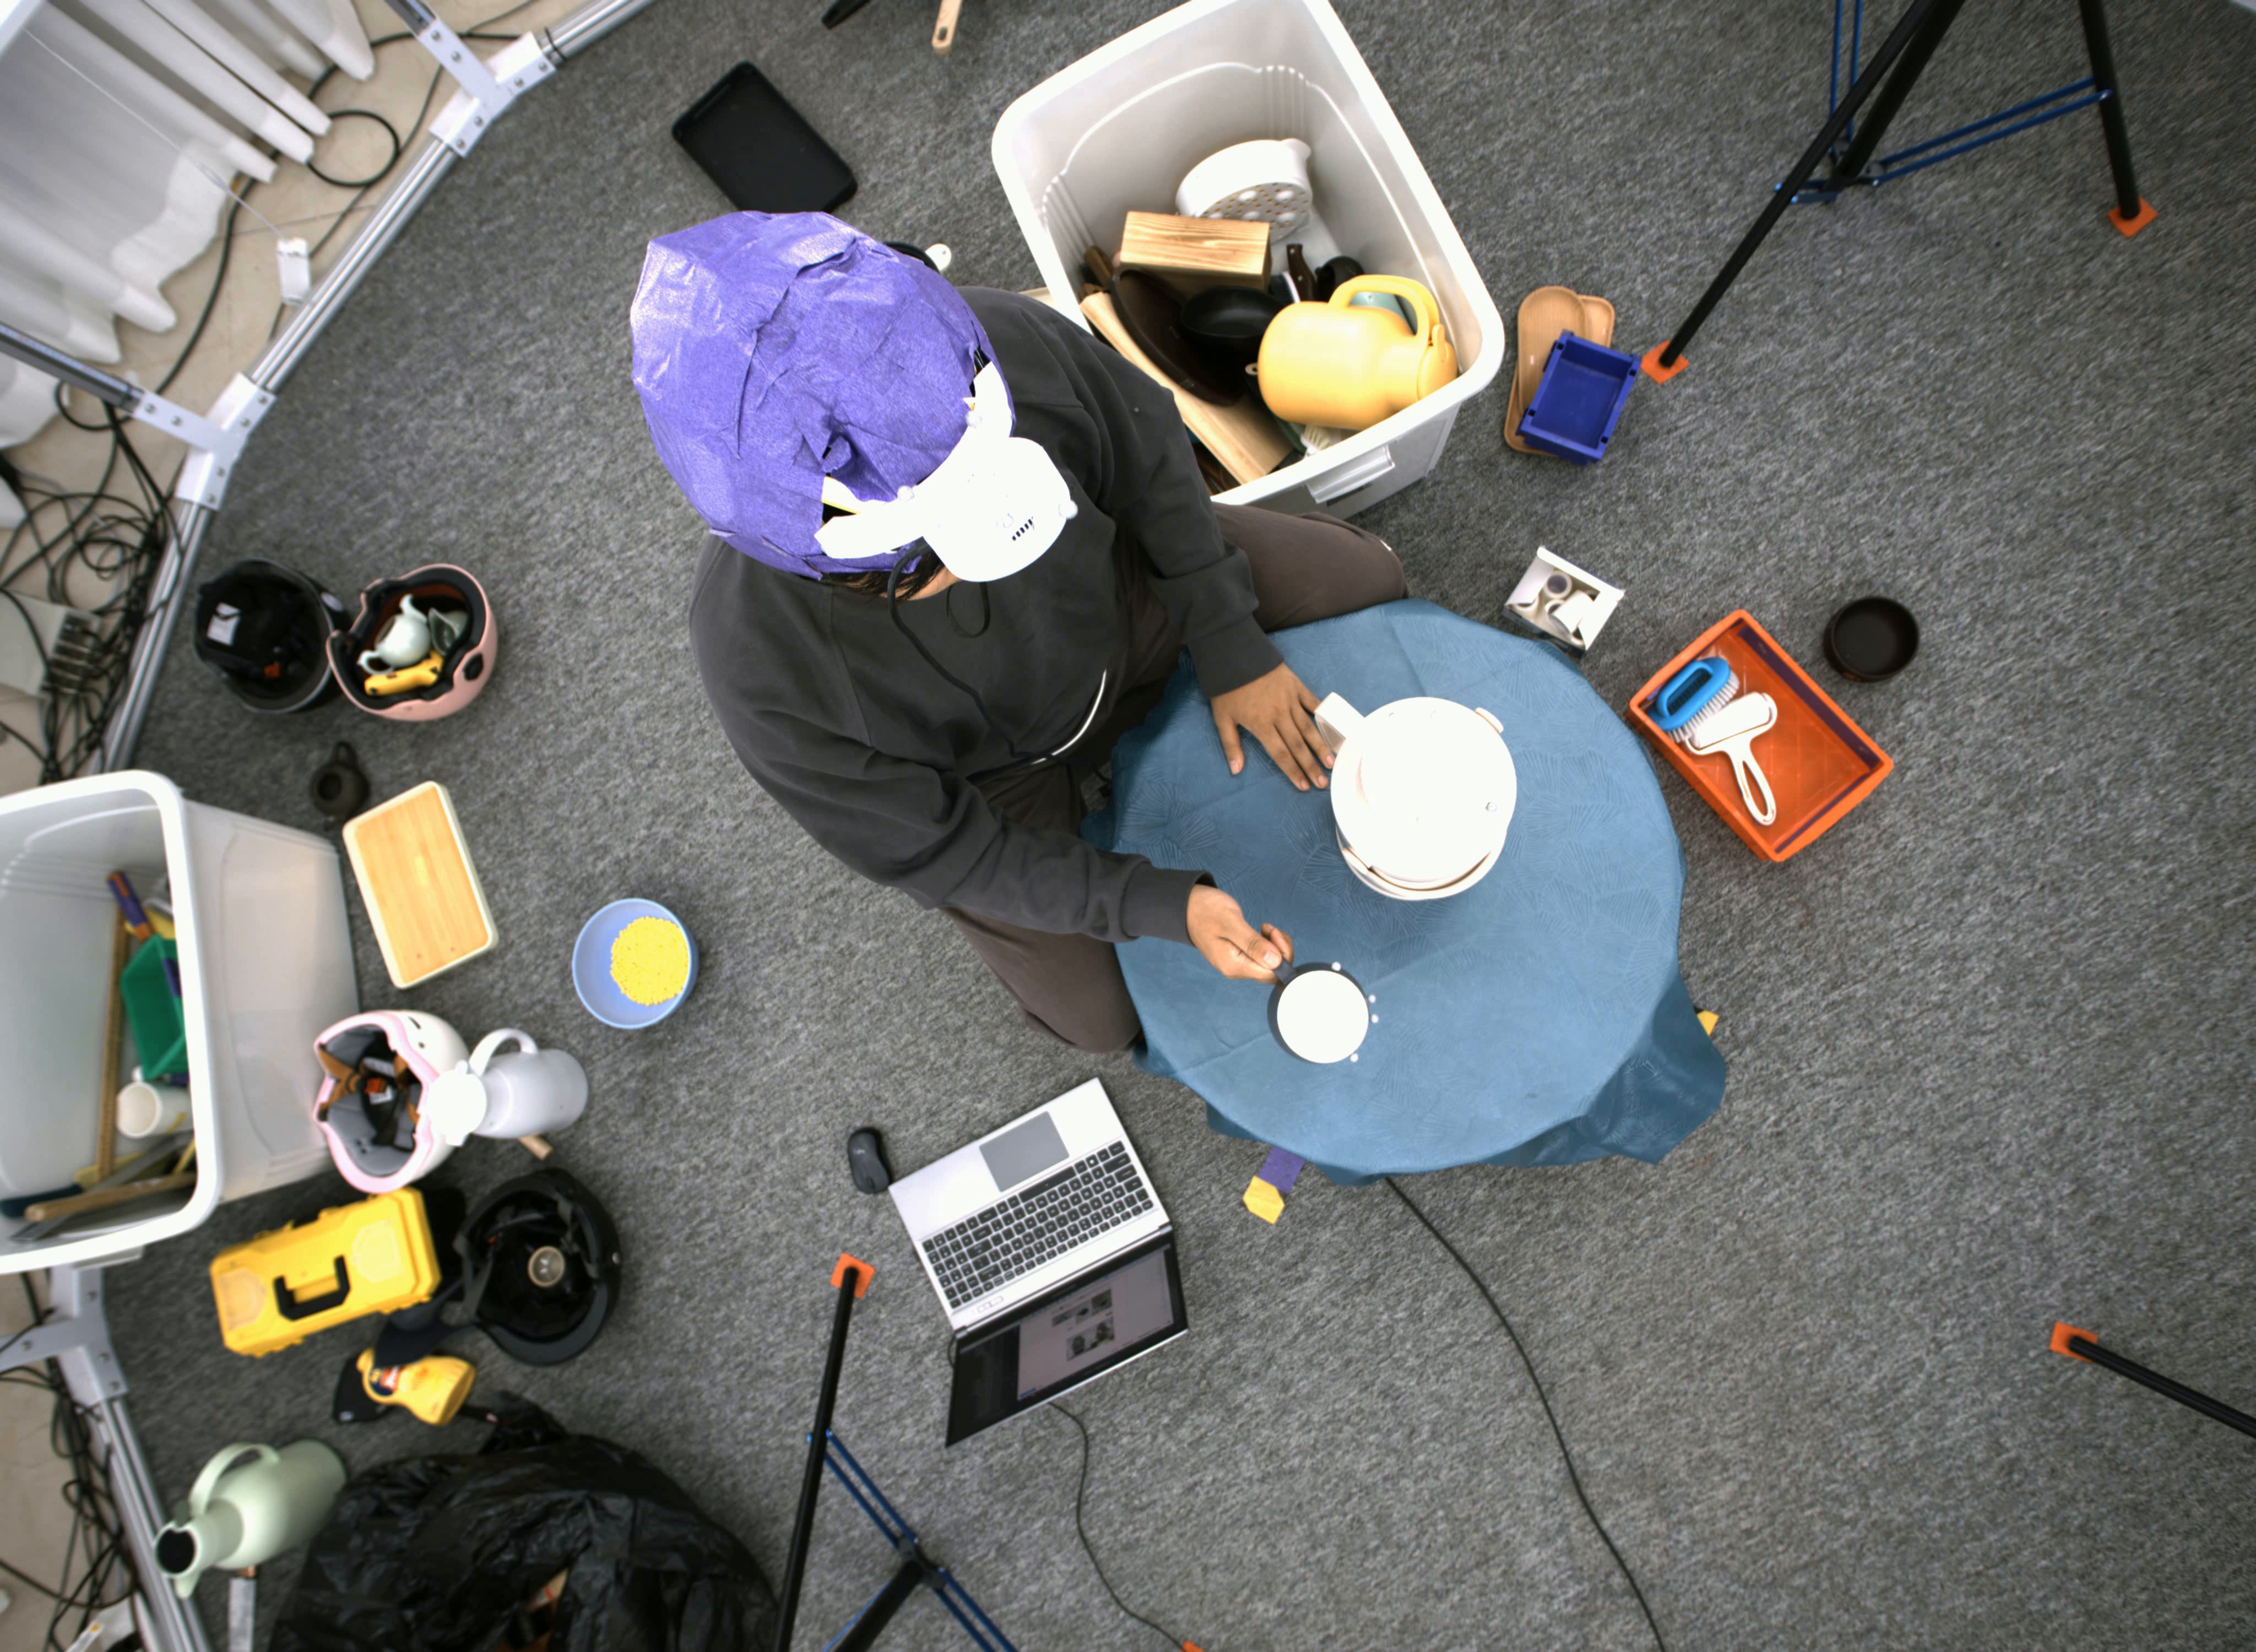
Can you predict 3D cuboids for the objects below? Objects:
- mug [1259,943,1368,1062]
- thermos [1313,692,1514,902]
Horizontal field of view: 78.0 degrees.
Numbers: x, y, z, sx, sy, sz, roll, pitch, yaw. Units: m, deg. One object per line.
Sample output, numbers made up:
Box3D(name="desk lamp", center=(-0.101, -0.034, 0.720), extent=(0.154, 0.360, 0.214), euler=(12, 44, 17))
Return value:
Box3D(name="mug", center=(0.164, 0.157, 1.263), extent=(0.094, 0.090, 0.123), euler=(-40, 86, 2))
Box3D(name="thermos", center=(0.256, -0.033, 1.268), extent=(0.206, 0.407, 0.176), euler=(43, 93, 11))
